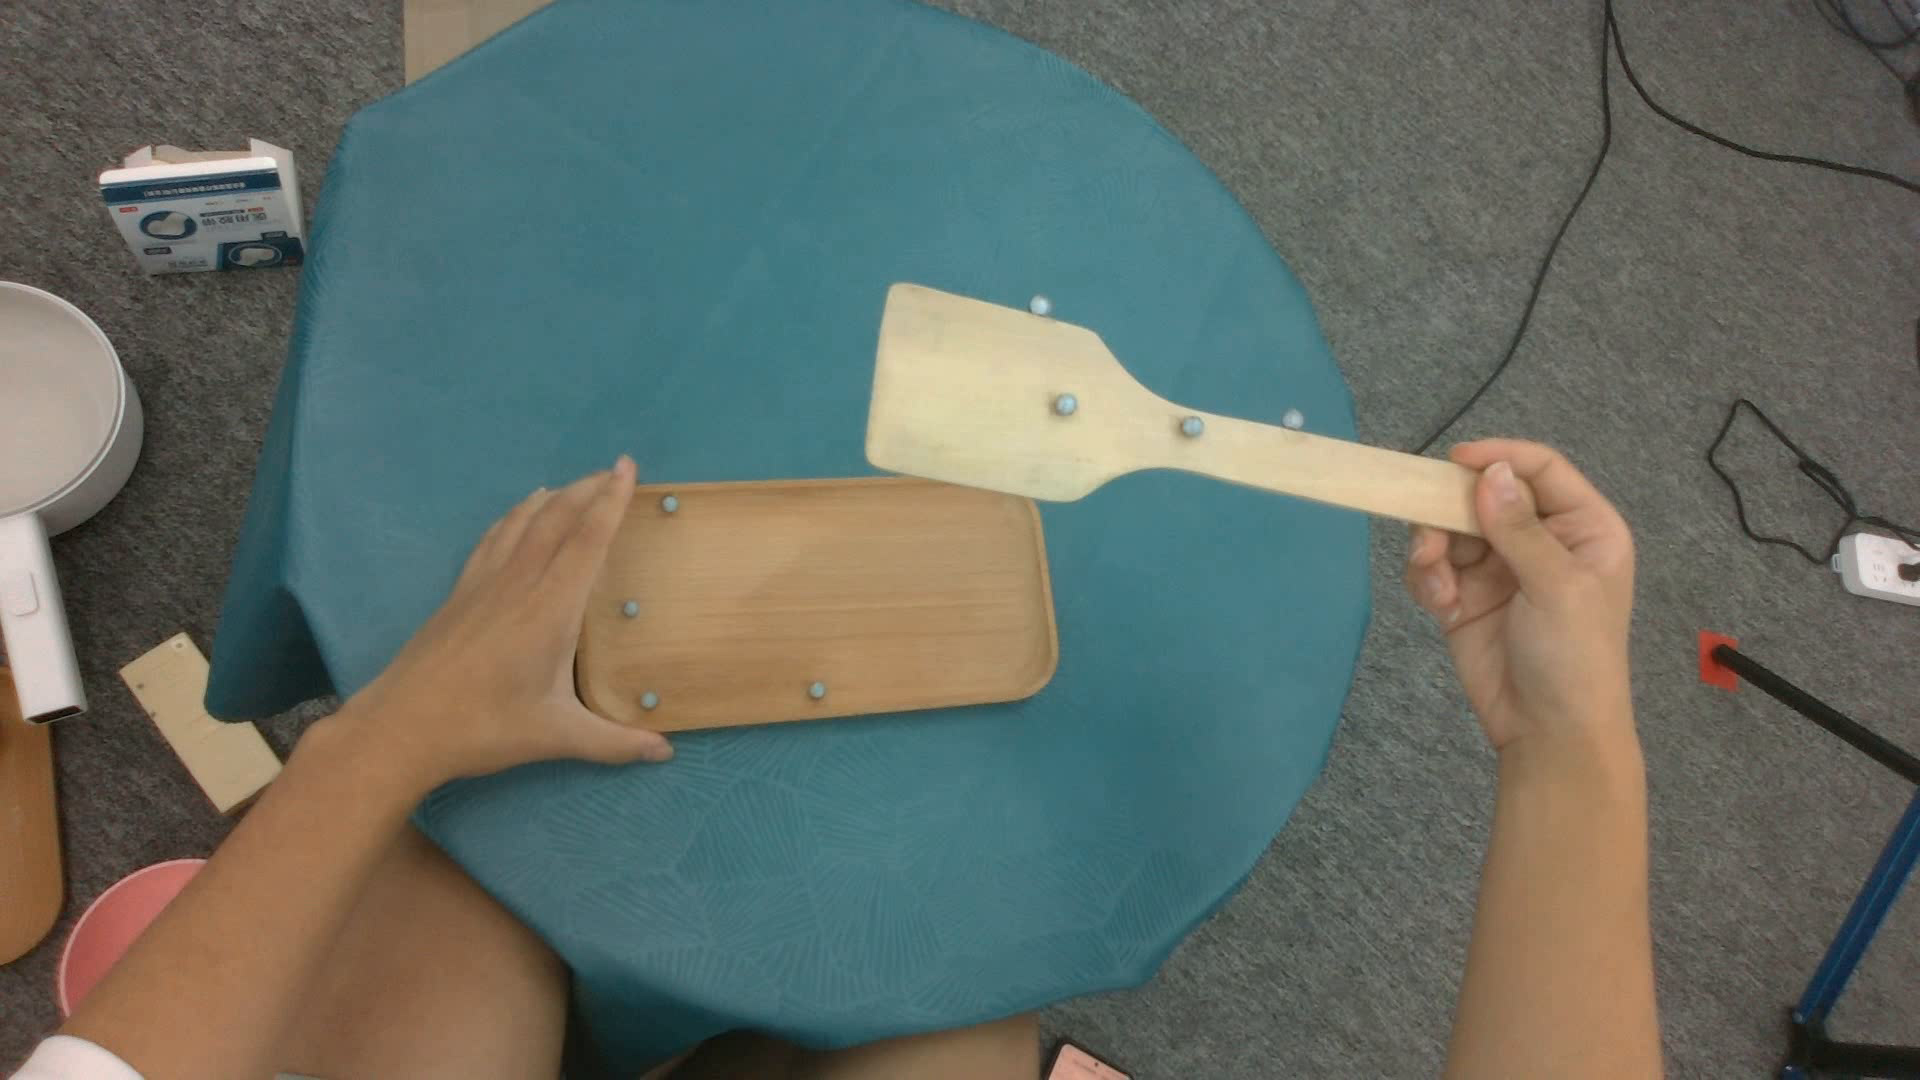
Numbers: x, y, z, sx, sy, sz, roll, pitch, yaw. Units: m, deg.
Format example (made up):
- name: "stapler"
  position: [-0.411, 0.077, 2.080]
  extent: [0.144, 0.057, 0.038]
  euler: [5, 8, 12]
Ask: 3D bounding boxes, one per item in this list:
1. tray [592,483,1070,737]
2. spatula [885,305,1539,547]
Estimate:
- name: "tray"
  position: [-0.065, 0.033, 0.734]
  extent: [0.251, 0.023, 0.131]
  euler: [-2, 77, -17]
- name: "spatula"
  position: [0.112, -0.034, 0.555]
  extent: [0.293, 0.010, 0.072]
  euler: [9, 80, -17]
